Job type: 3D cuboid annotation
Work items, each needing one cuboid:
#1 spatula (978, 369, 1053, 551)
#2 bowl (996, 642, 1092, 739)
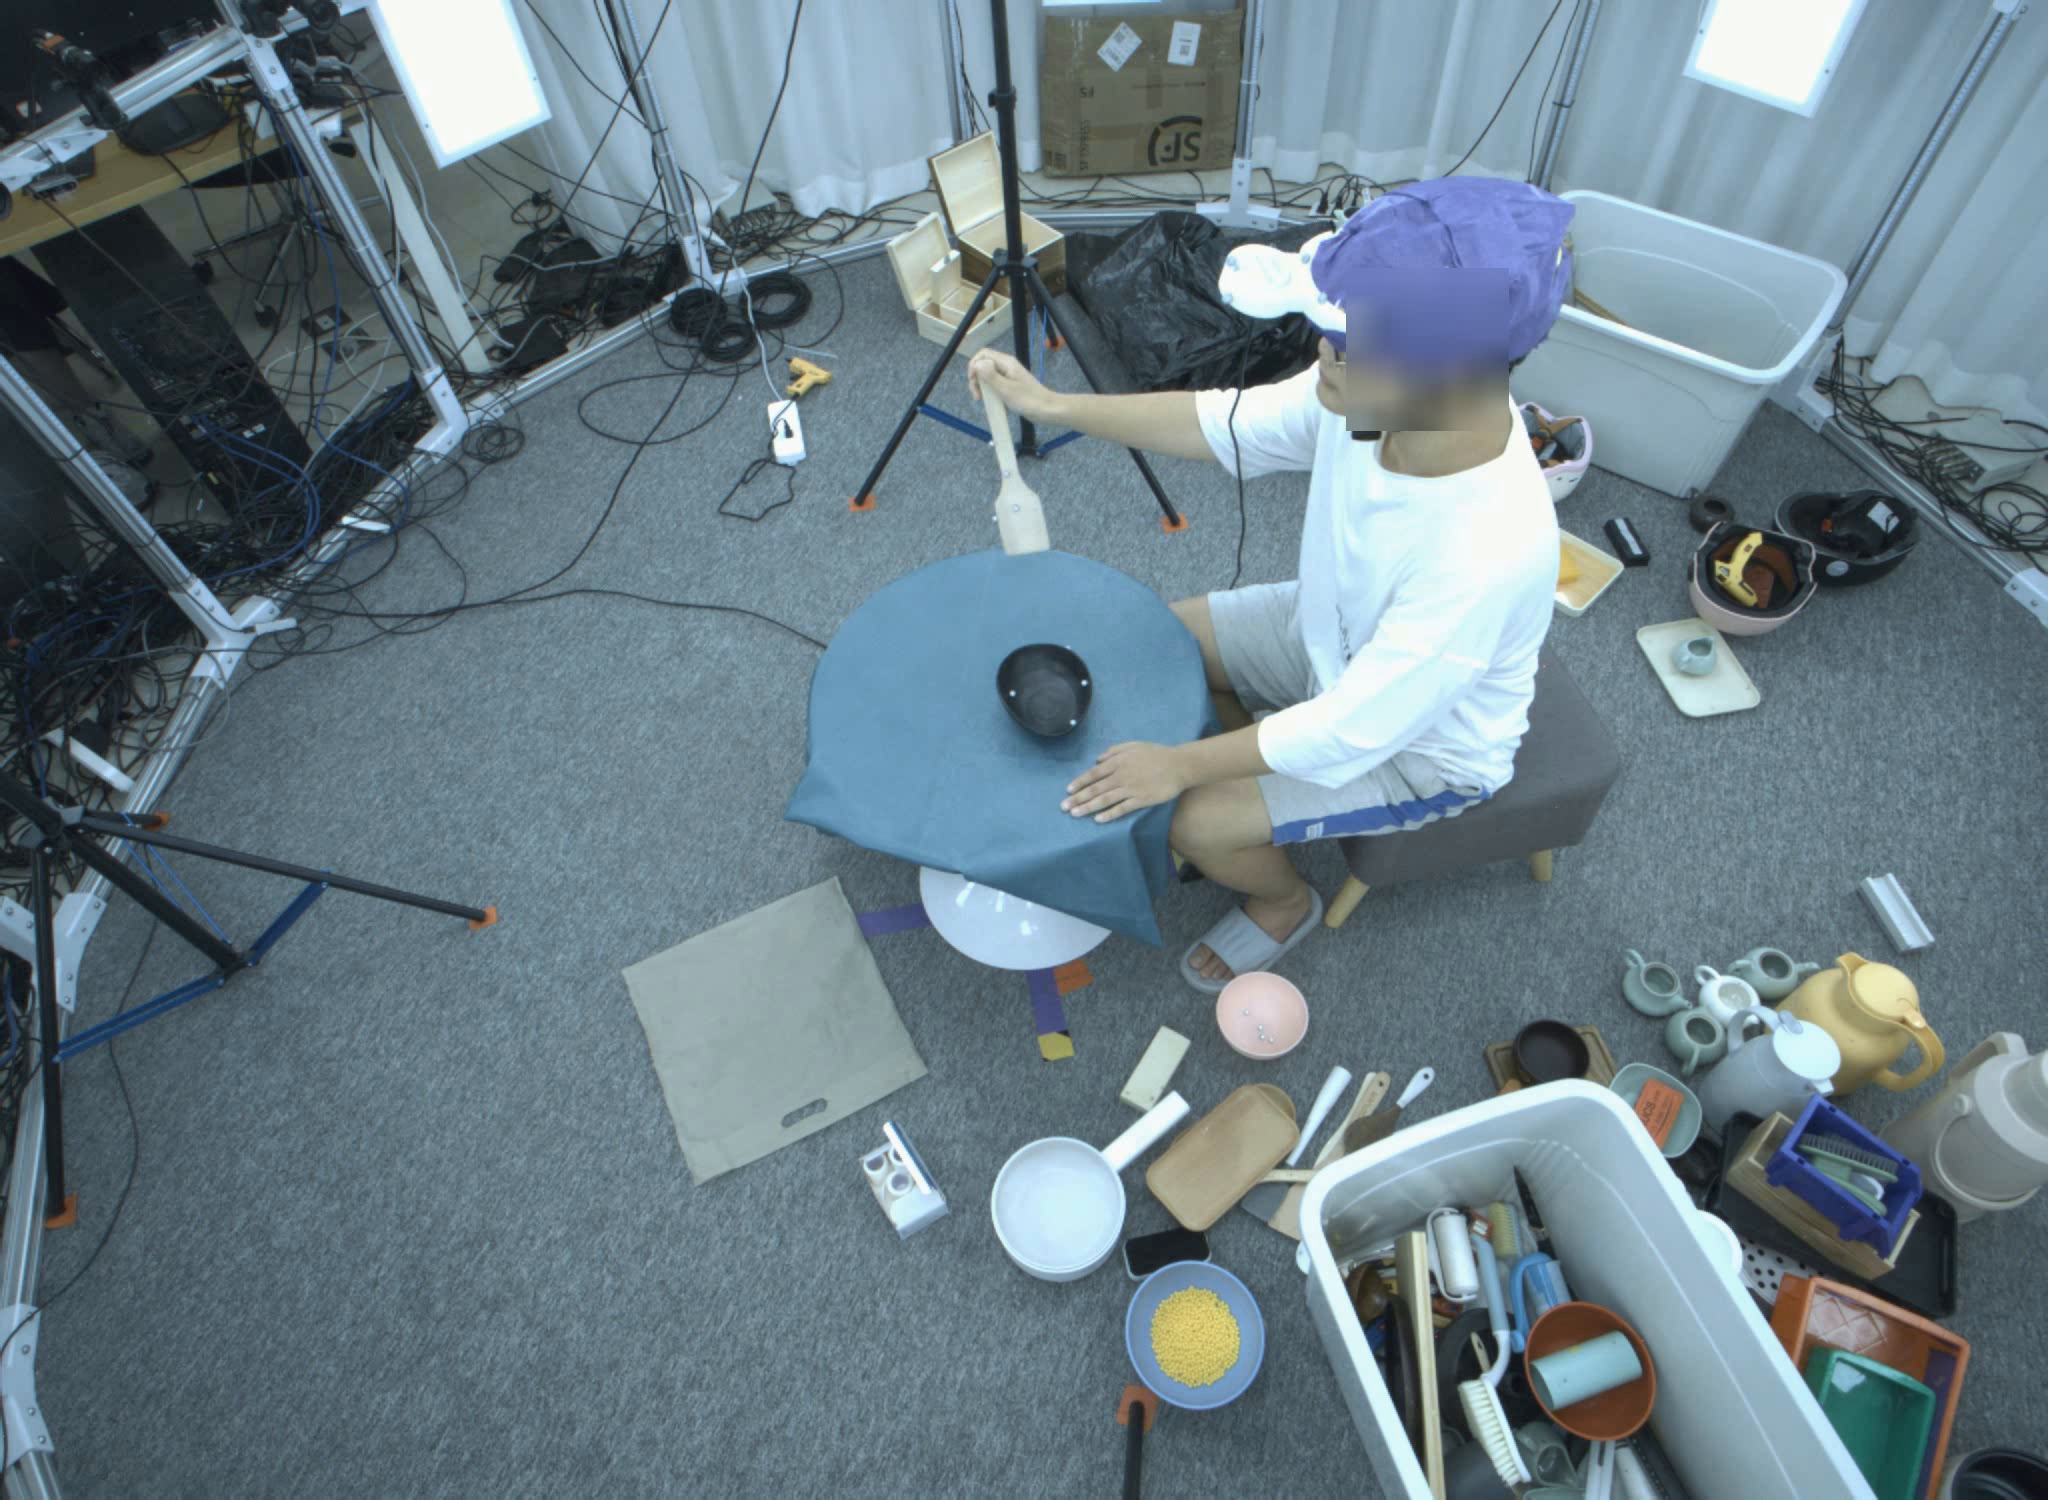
[{"bbox_3d":[-0.025,-0.424,1.760,0.071,0.297,0.010,-8,33,13],"label":"spatula"},{"bbox_3d":[0.031,-0.079,1.801,0.138,0.067,0.167,-16,58,-10],"label":"bowl"}]
